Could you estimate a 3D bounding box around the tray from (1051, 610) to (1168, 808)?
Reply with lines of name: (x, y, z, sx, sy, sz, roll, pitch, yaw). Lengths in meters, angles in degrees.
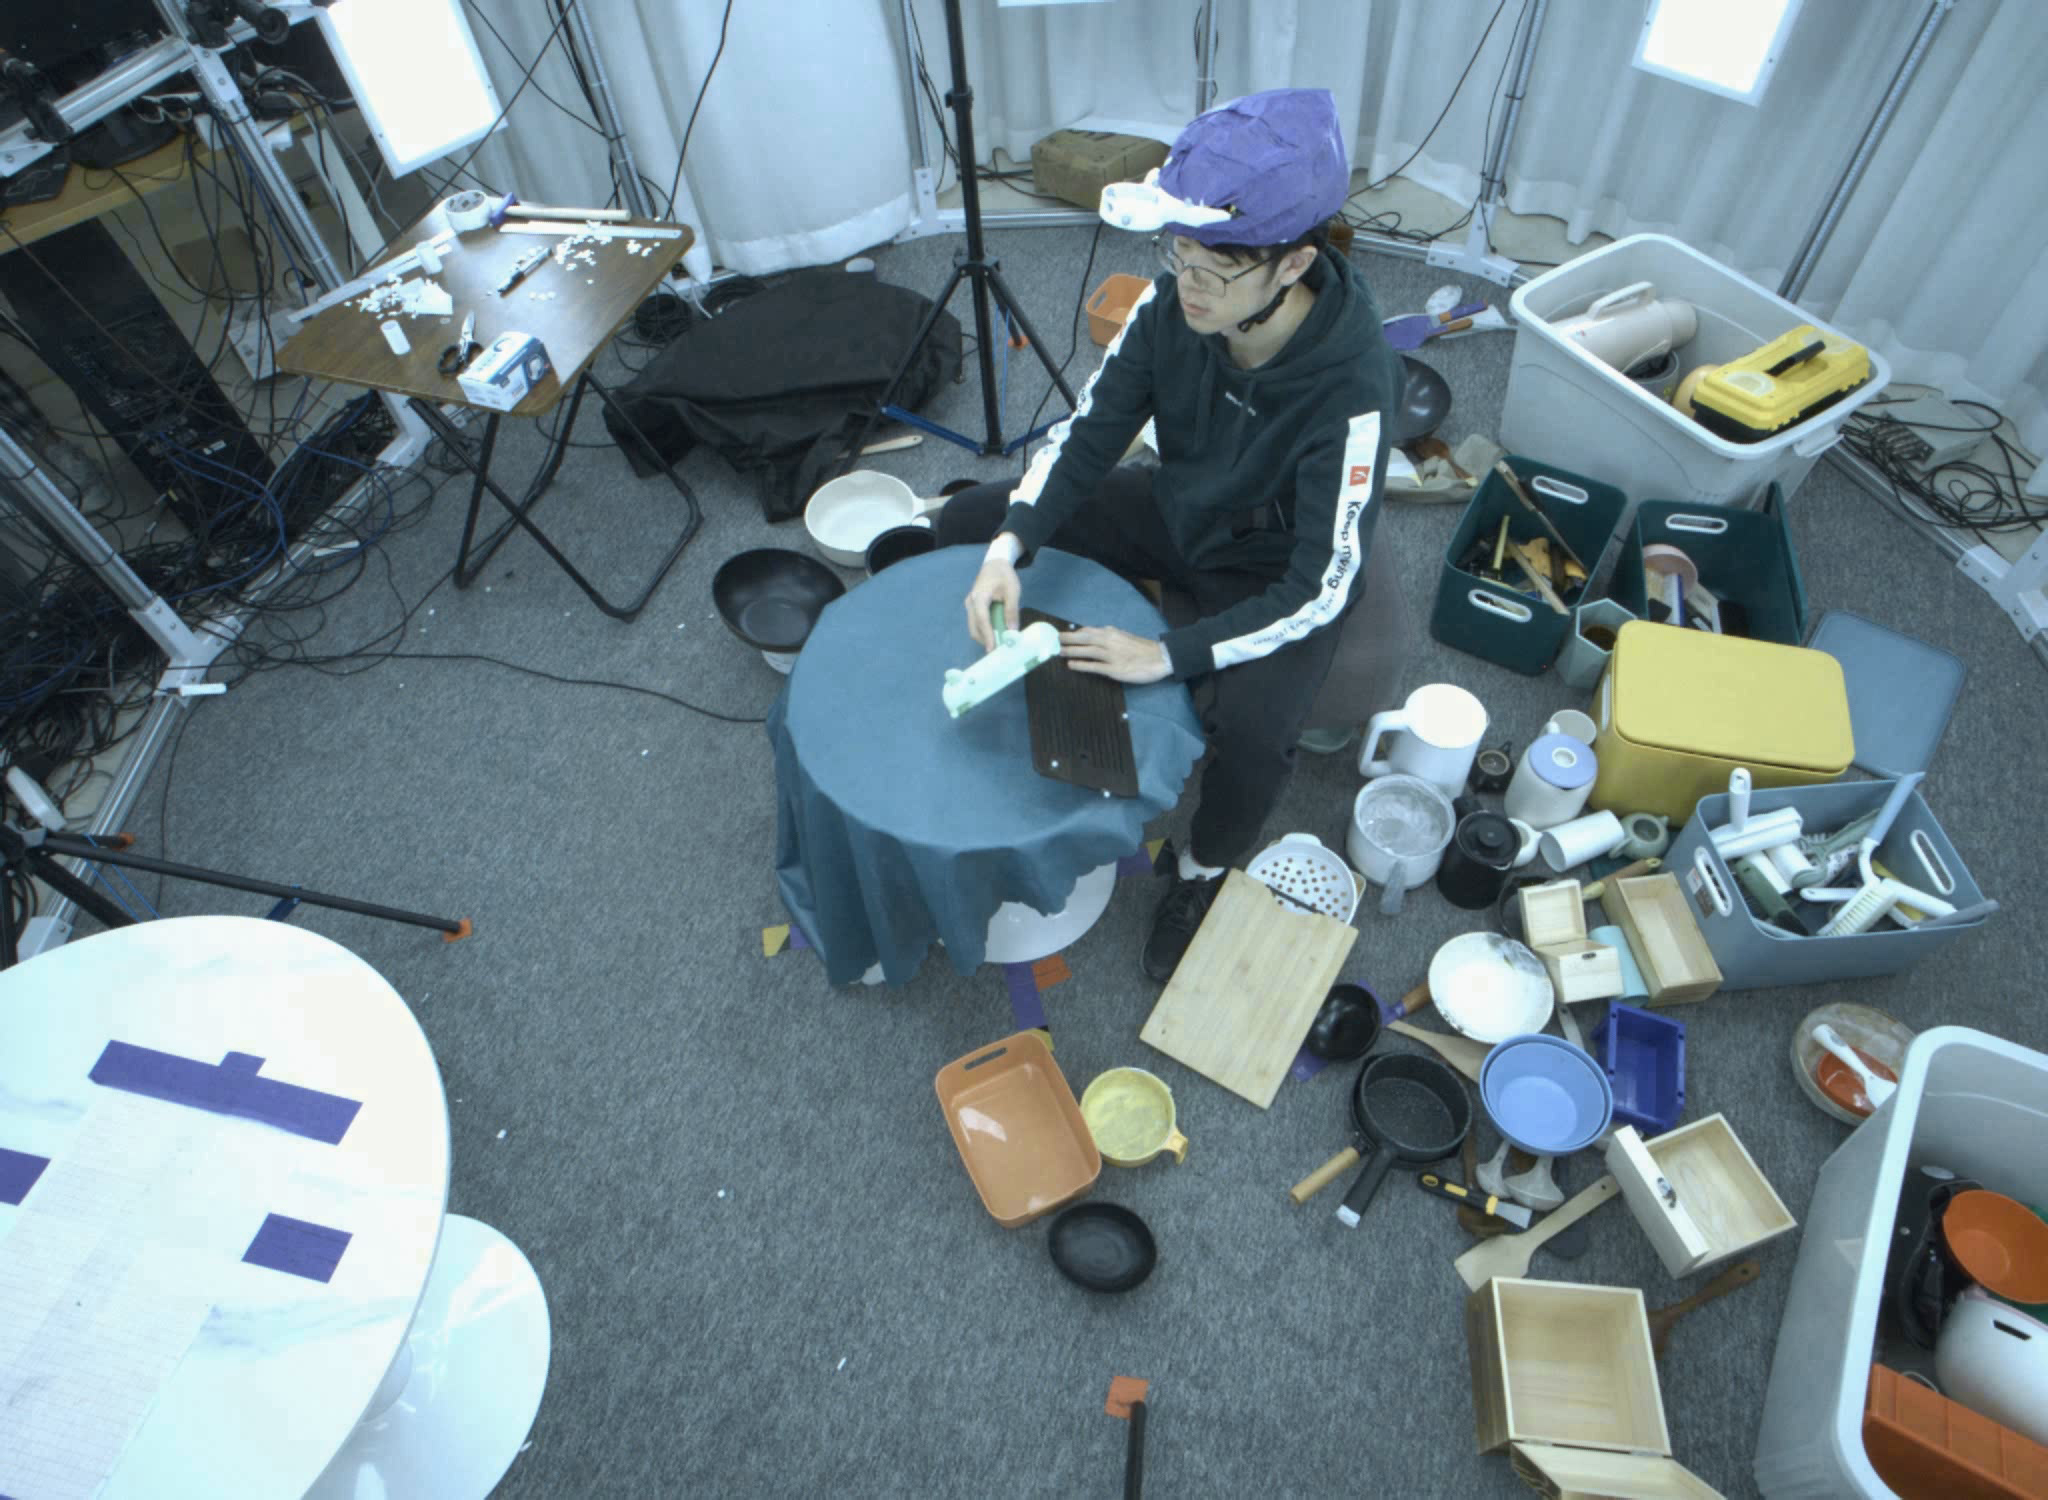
tray: (0.118, -0.061, 1.763, 0.173, 0.018, 0.302, 17, 50, -27)

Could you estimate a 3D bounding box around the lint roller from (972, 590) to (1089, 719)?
lint roller: (-0.005, -0.160, 1.739, 0.196, 0.084, 0.181, -30, 56, 35)
